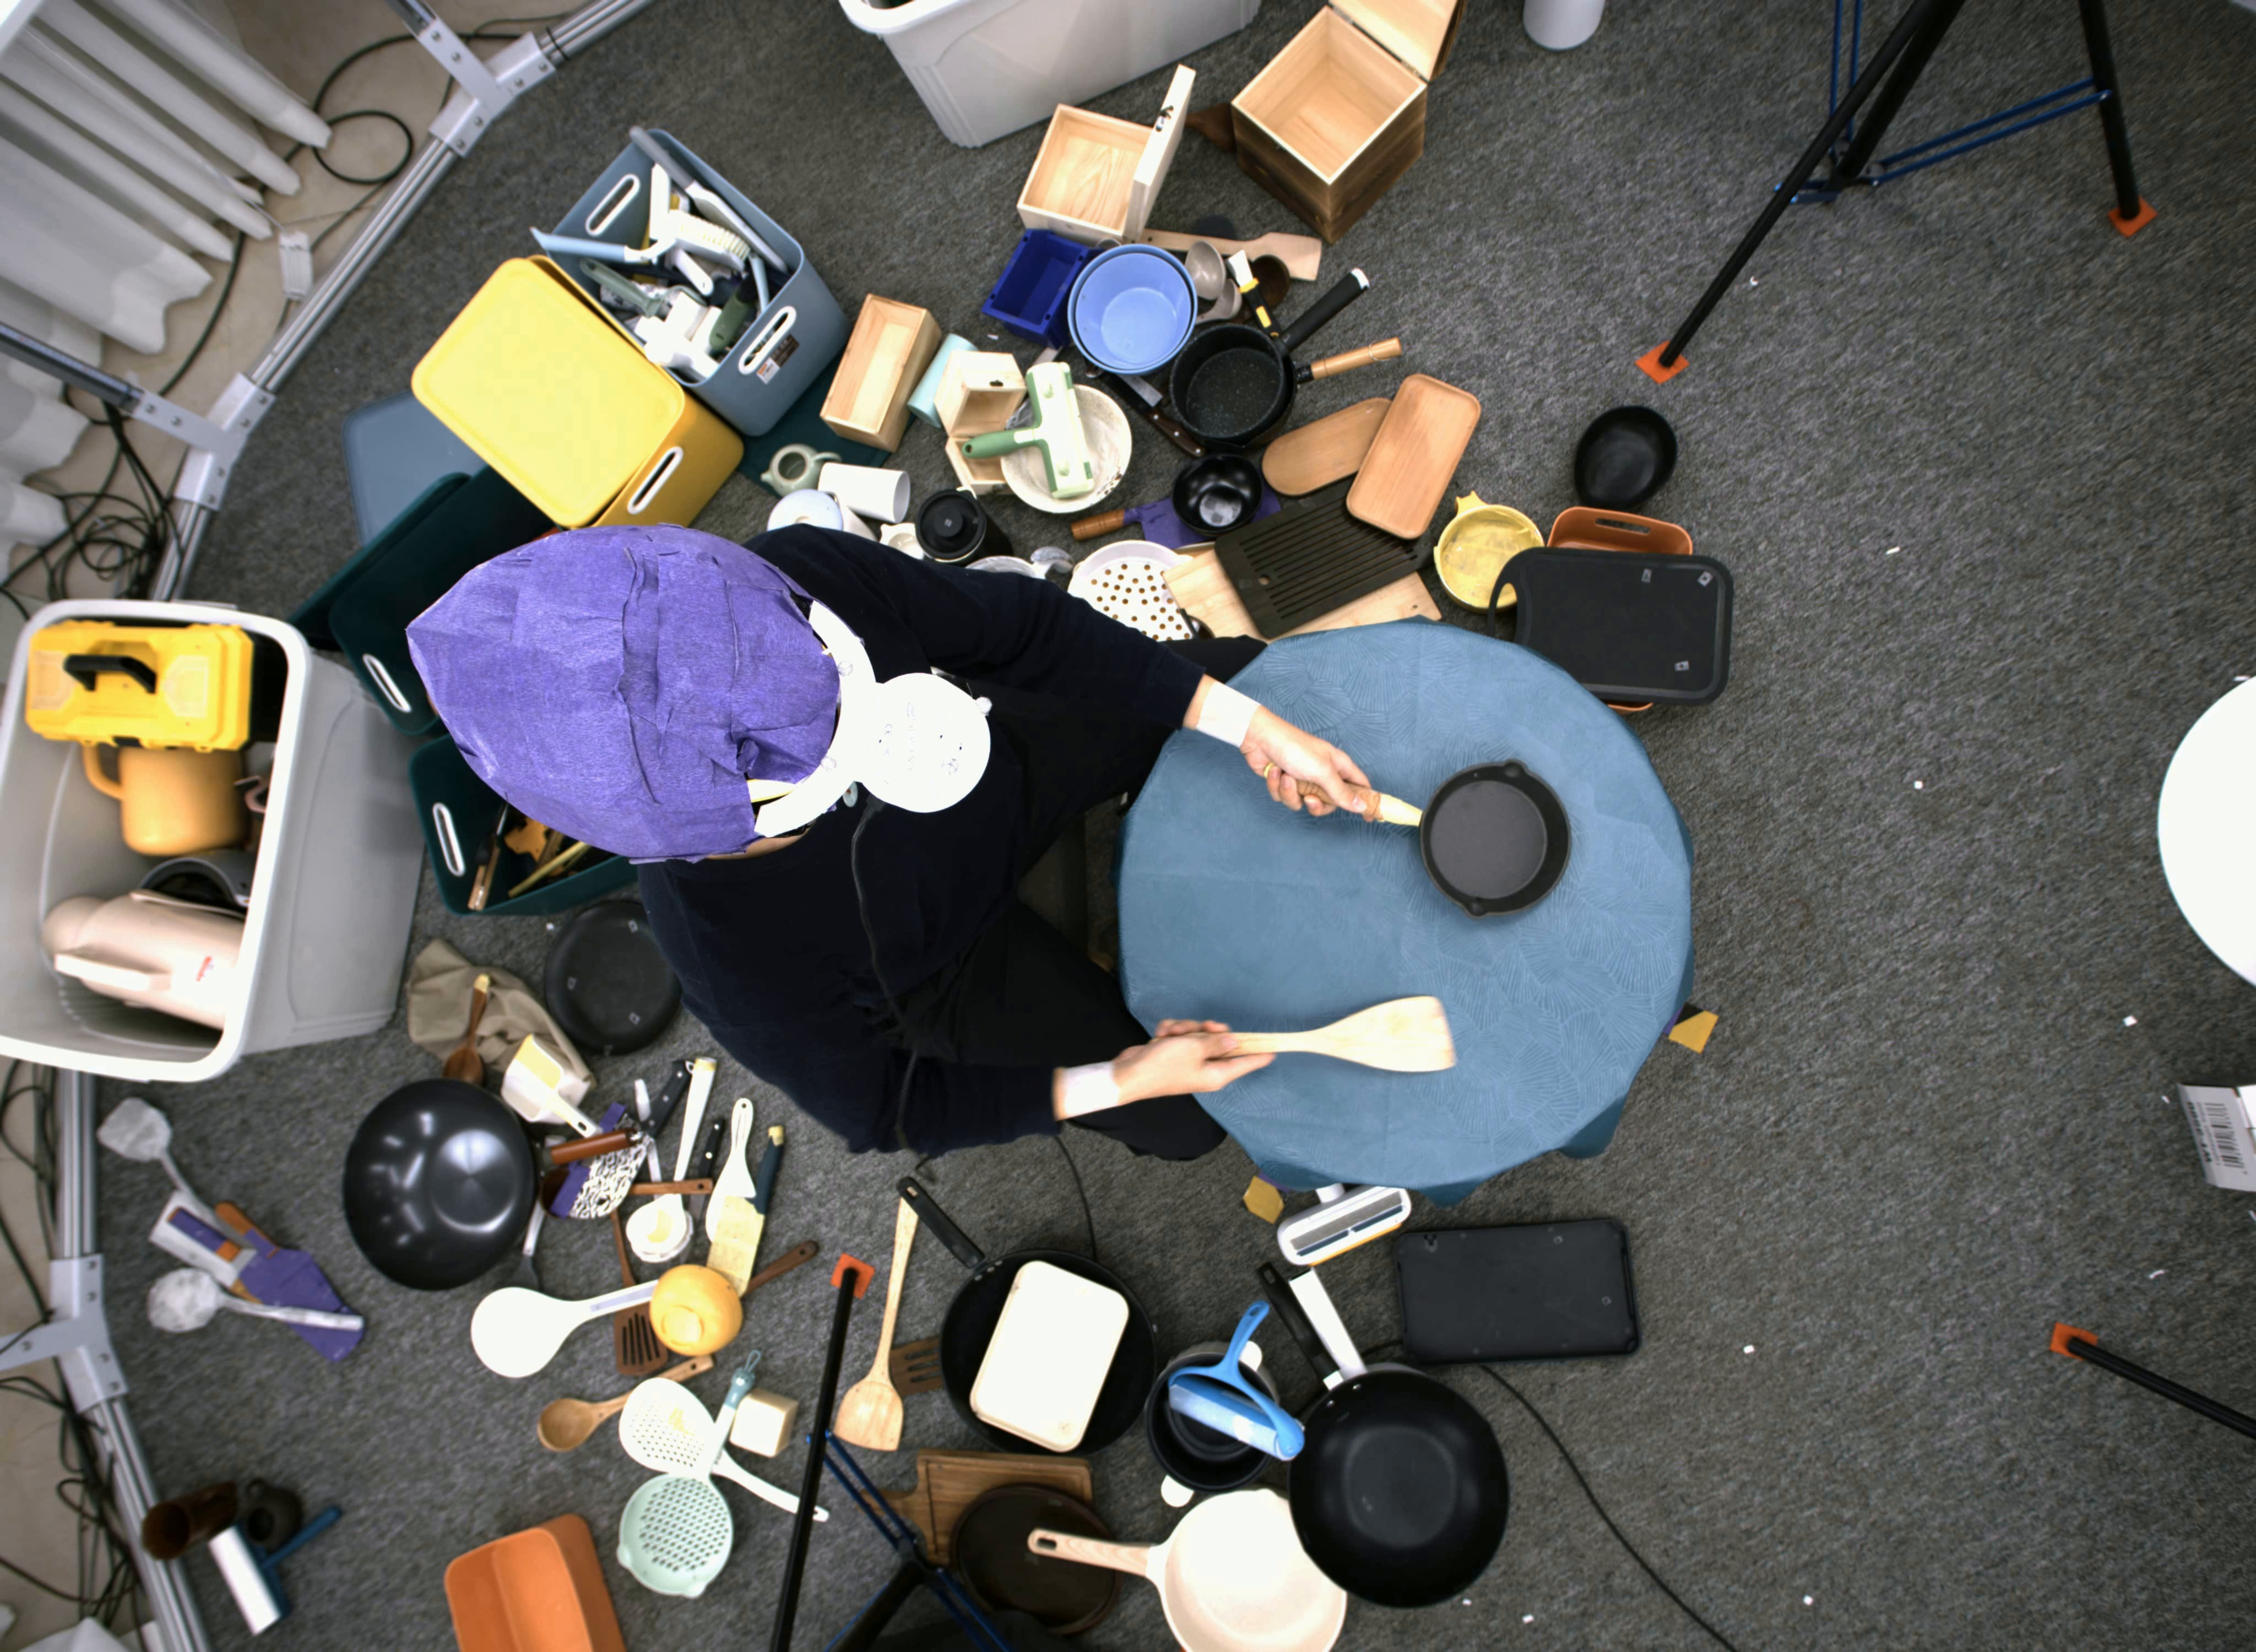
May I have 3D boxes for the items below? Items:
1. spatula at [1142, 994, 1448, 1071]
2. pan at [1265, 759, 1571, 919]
[{"bbox_3d":[0.172,0.216,1.403,0.326,0.017,0.079,-1,82,-16],"label":"spatula"},{"bbox_3d":[0.294,-0.014,1.408,0.324,0.049,0.169,18,90,-1],"label":"pan"}]
